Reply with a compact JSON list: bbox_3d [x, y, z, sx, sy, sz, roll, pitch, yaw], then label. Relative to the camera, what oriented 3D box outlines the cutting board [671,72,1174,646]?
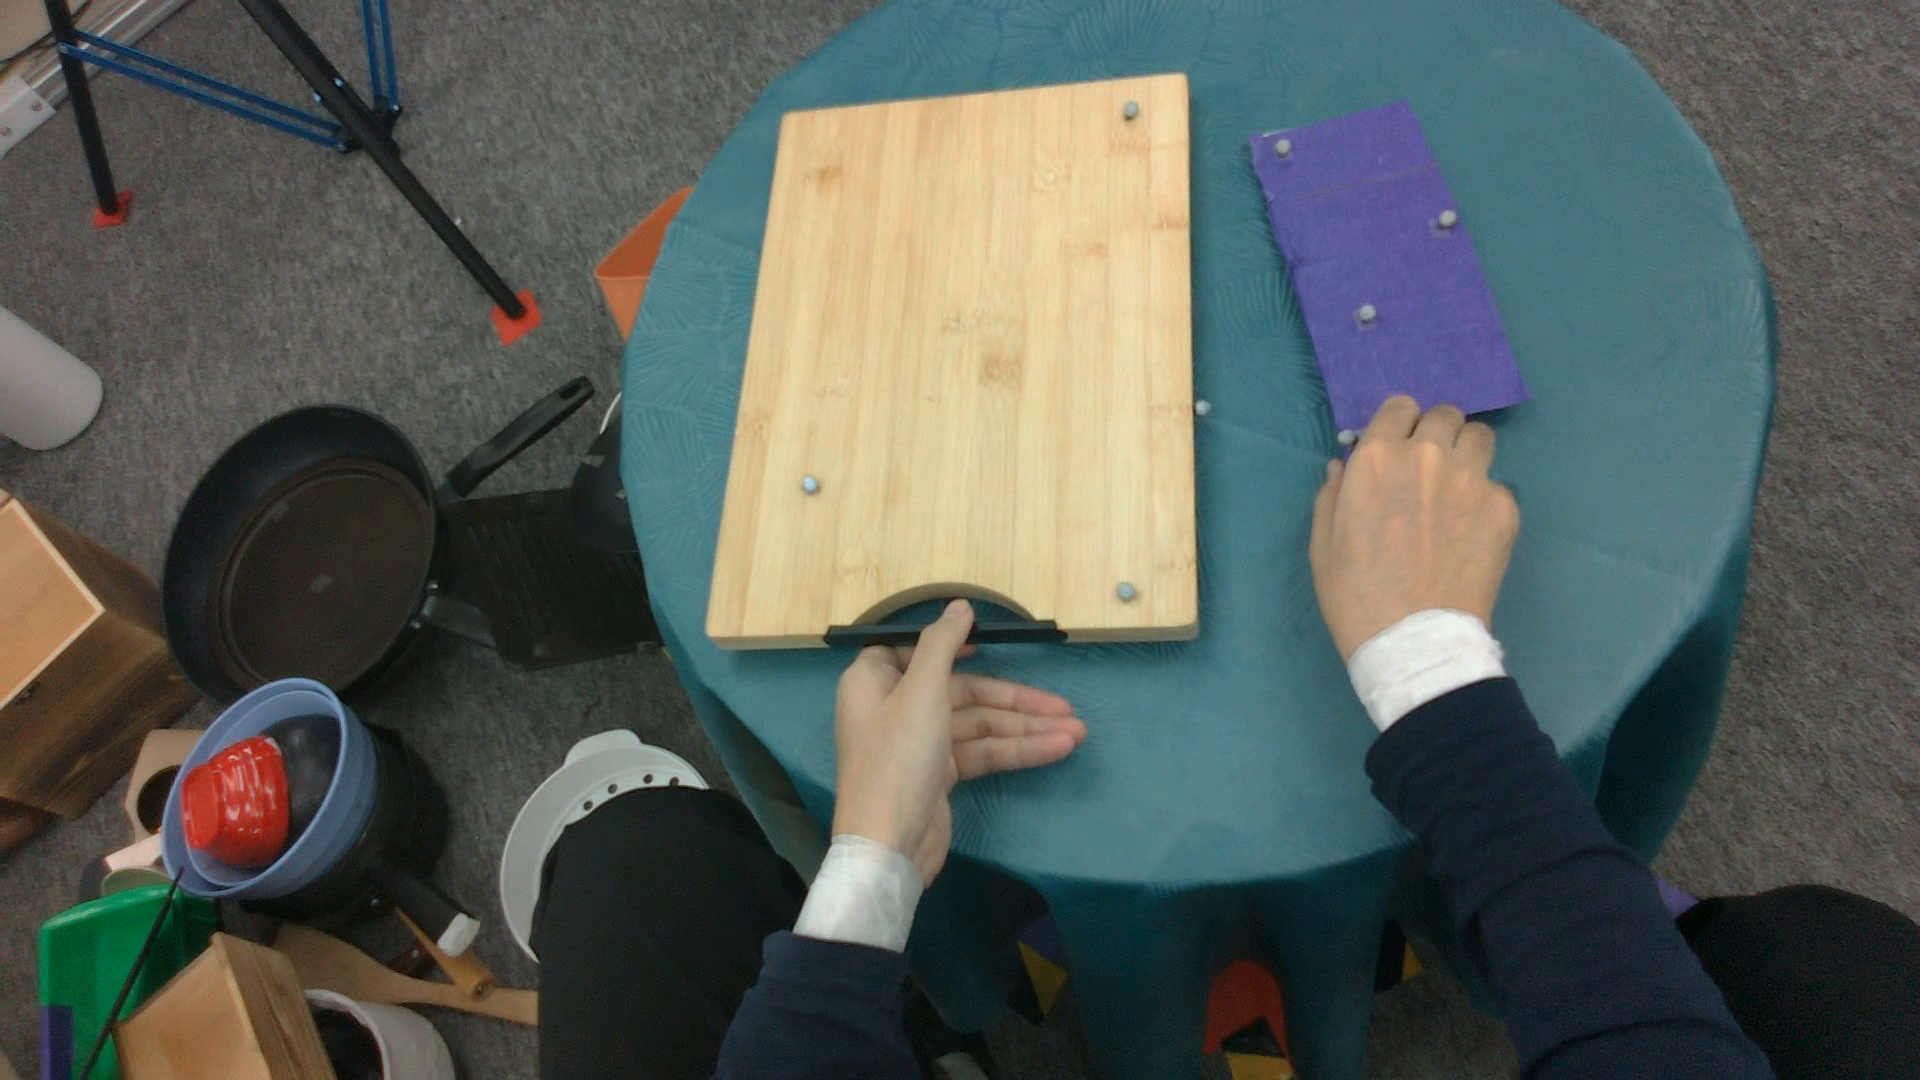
[{"bbox_3d":[-0.010,-0.107,0.732,0.250,0.023,0.350,-3,63,10],"label":"cutting board"}]

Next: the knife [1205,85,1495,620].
[{"bbox_3d":[0.208,-0.112,0.689,0.104,0.032,0.316,-13,62,5],"label":"knife"}]
